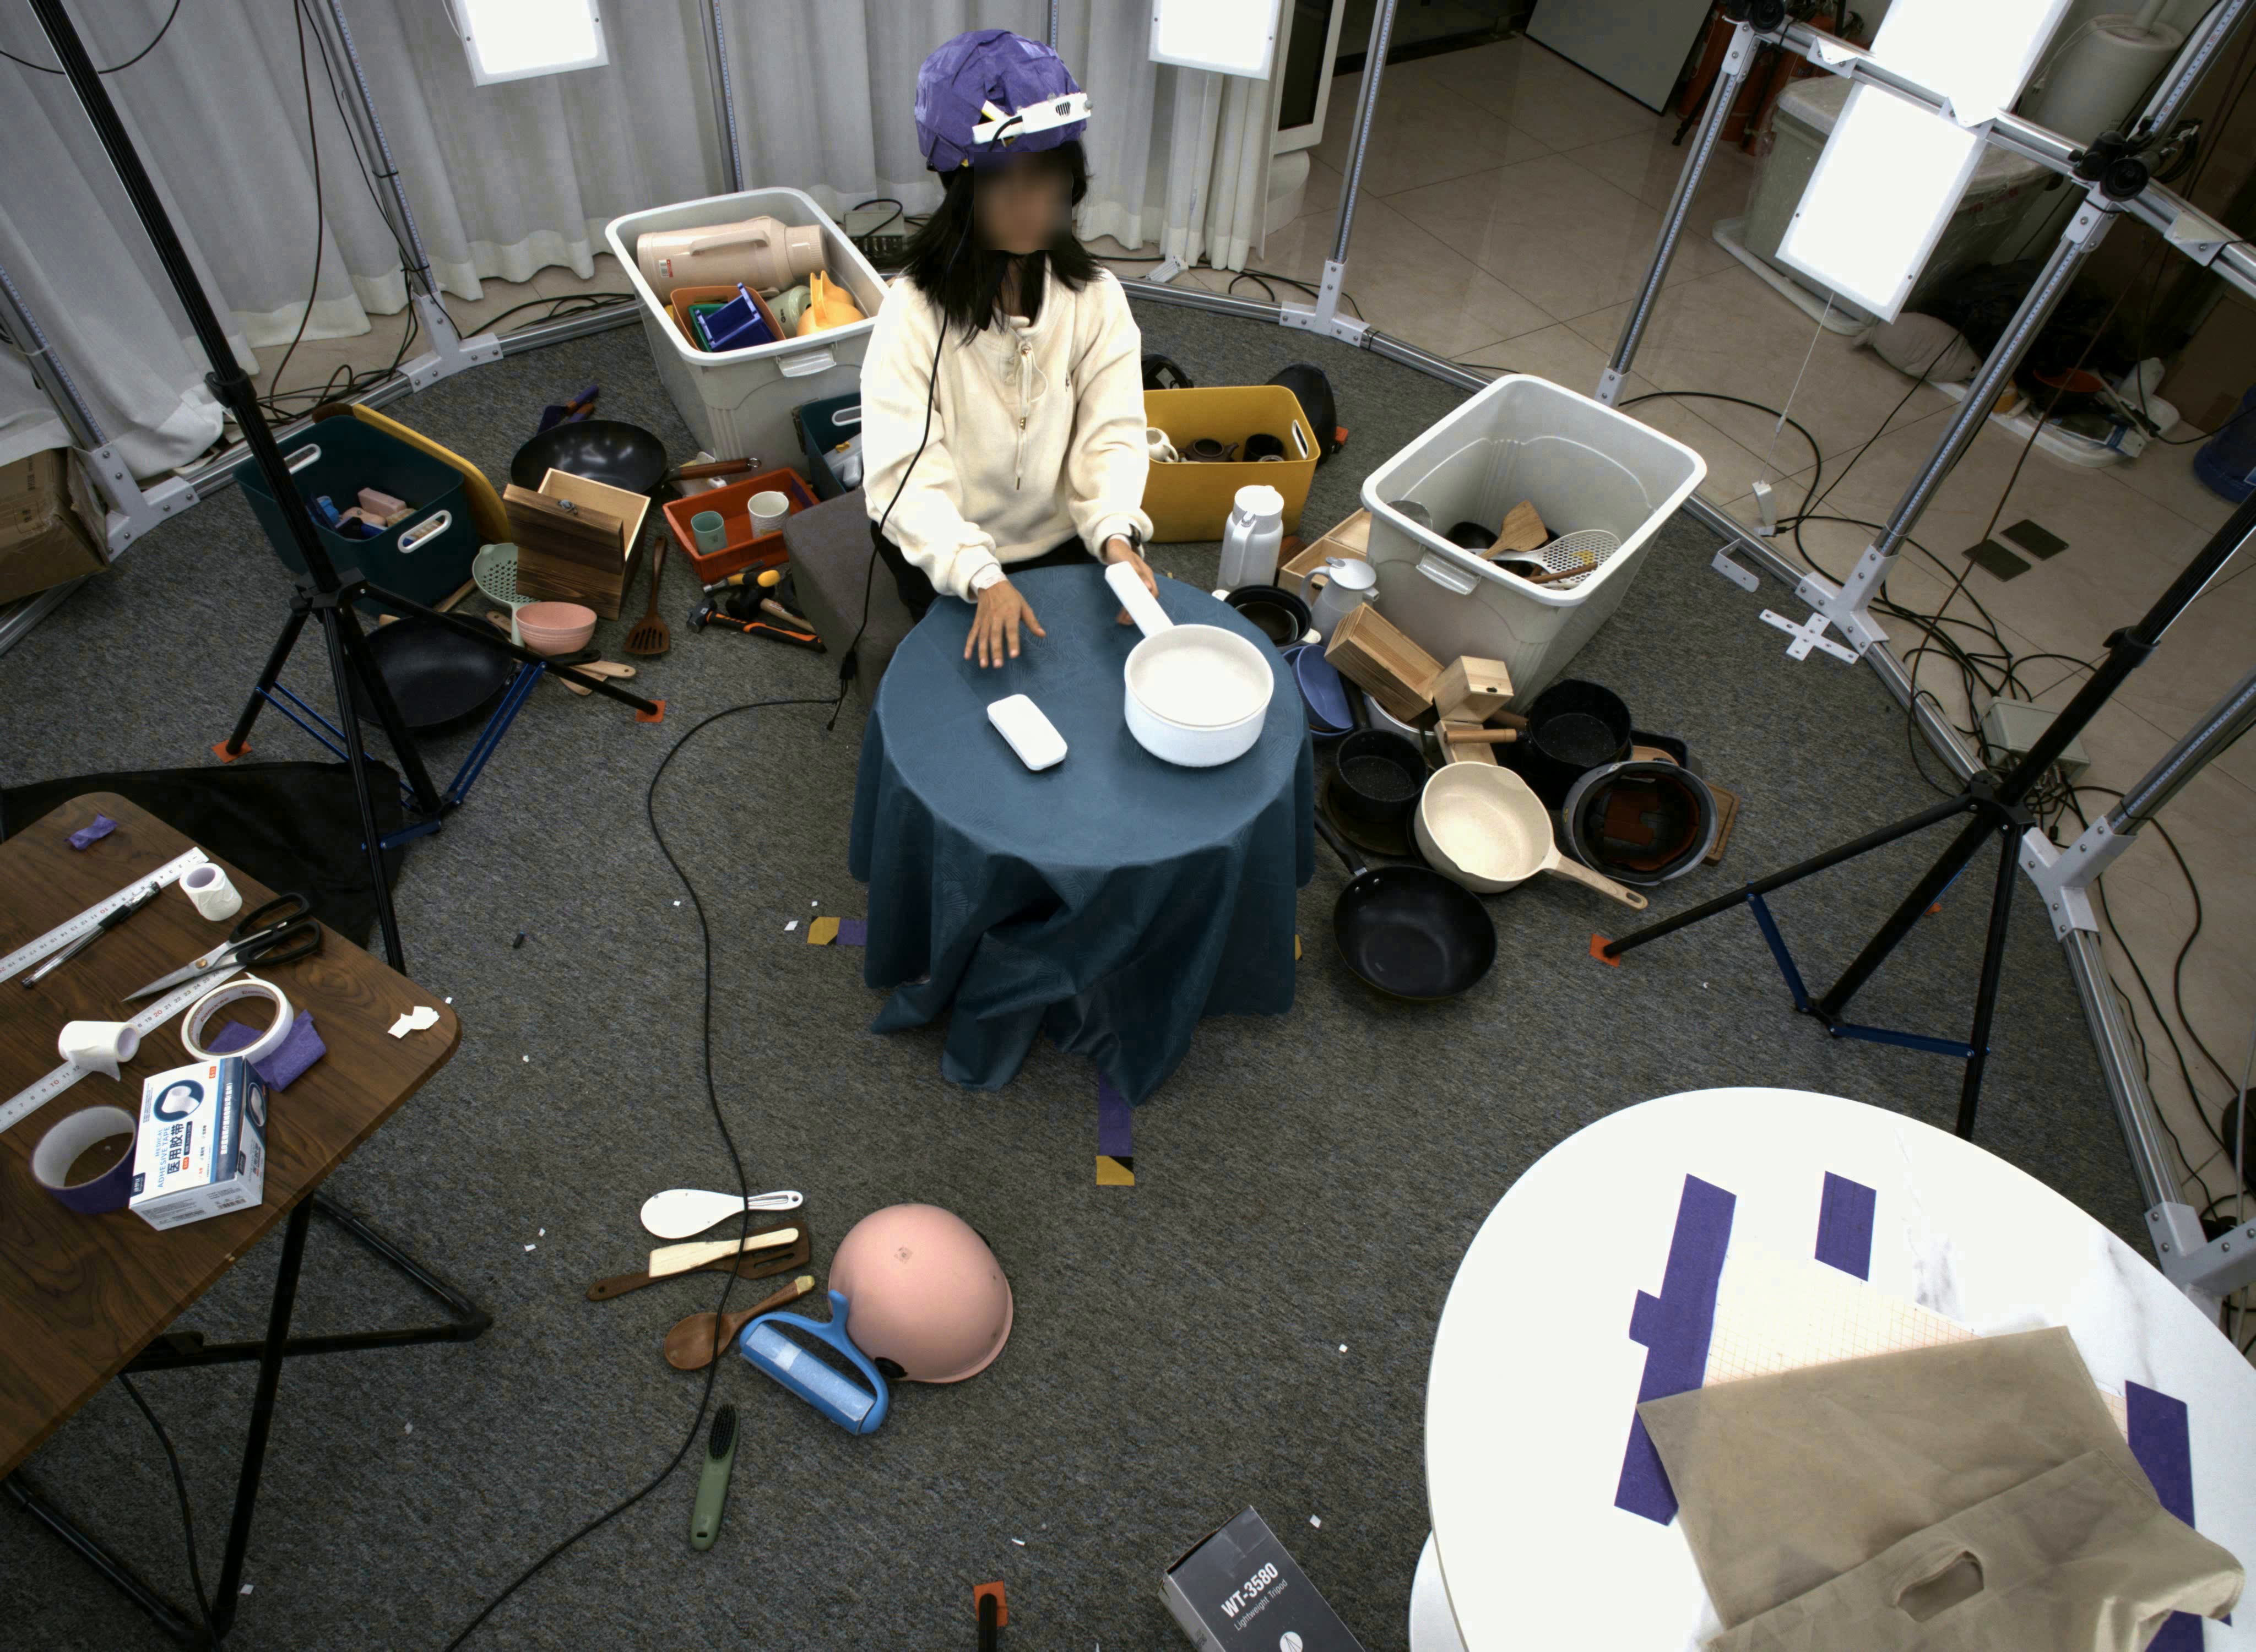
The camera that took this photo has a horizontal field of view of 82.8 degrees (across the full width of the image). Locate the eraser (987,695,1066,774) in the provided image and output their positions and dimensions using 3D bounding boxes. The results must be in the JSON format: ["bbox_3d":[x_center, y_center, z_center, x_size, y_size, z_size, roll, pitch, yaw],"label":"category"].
[{"bbox_3d":[-0.138,-0.128,1.753,0.063,0.034,0.134,-23,55,-25],"label":"eraser"}]

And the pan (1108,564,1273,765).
[{"bbox_3d":[0.059,-0.228,1.808,0.201,0.099,0.363,-17,50,-19],"label":"pan"}]
